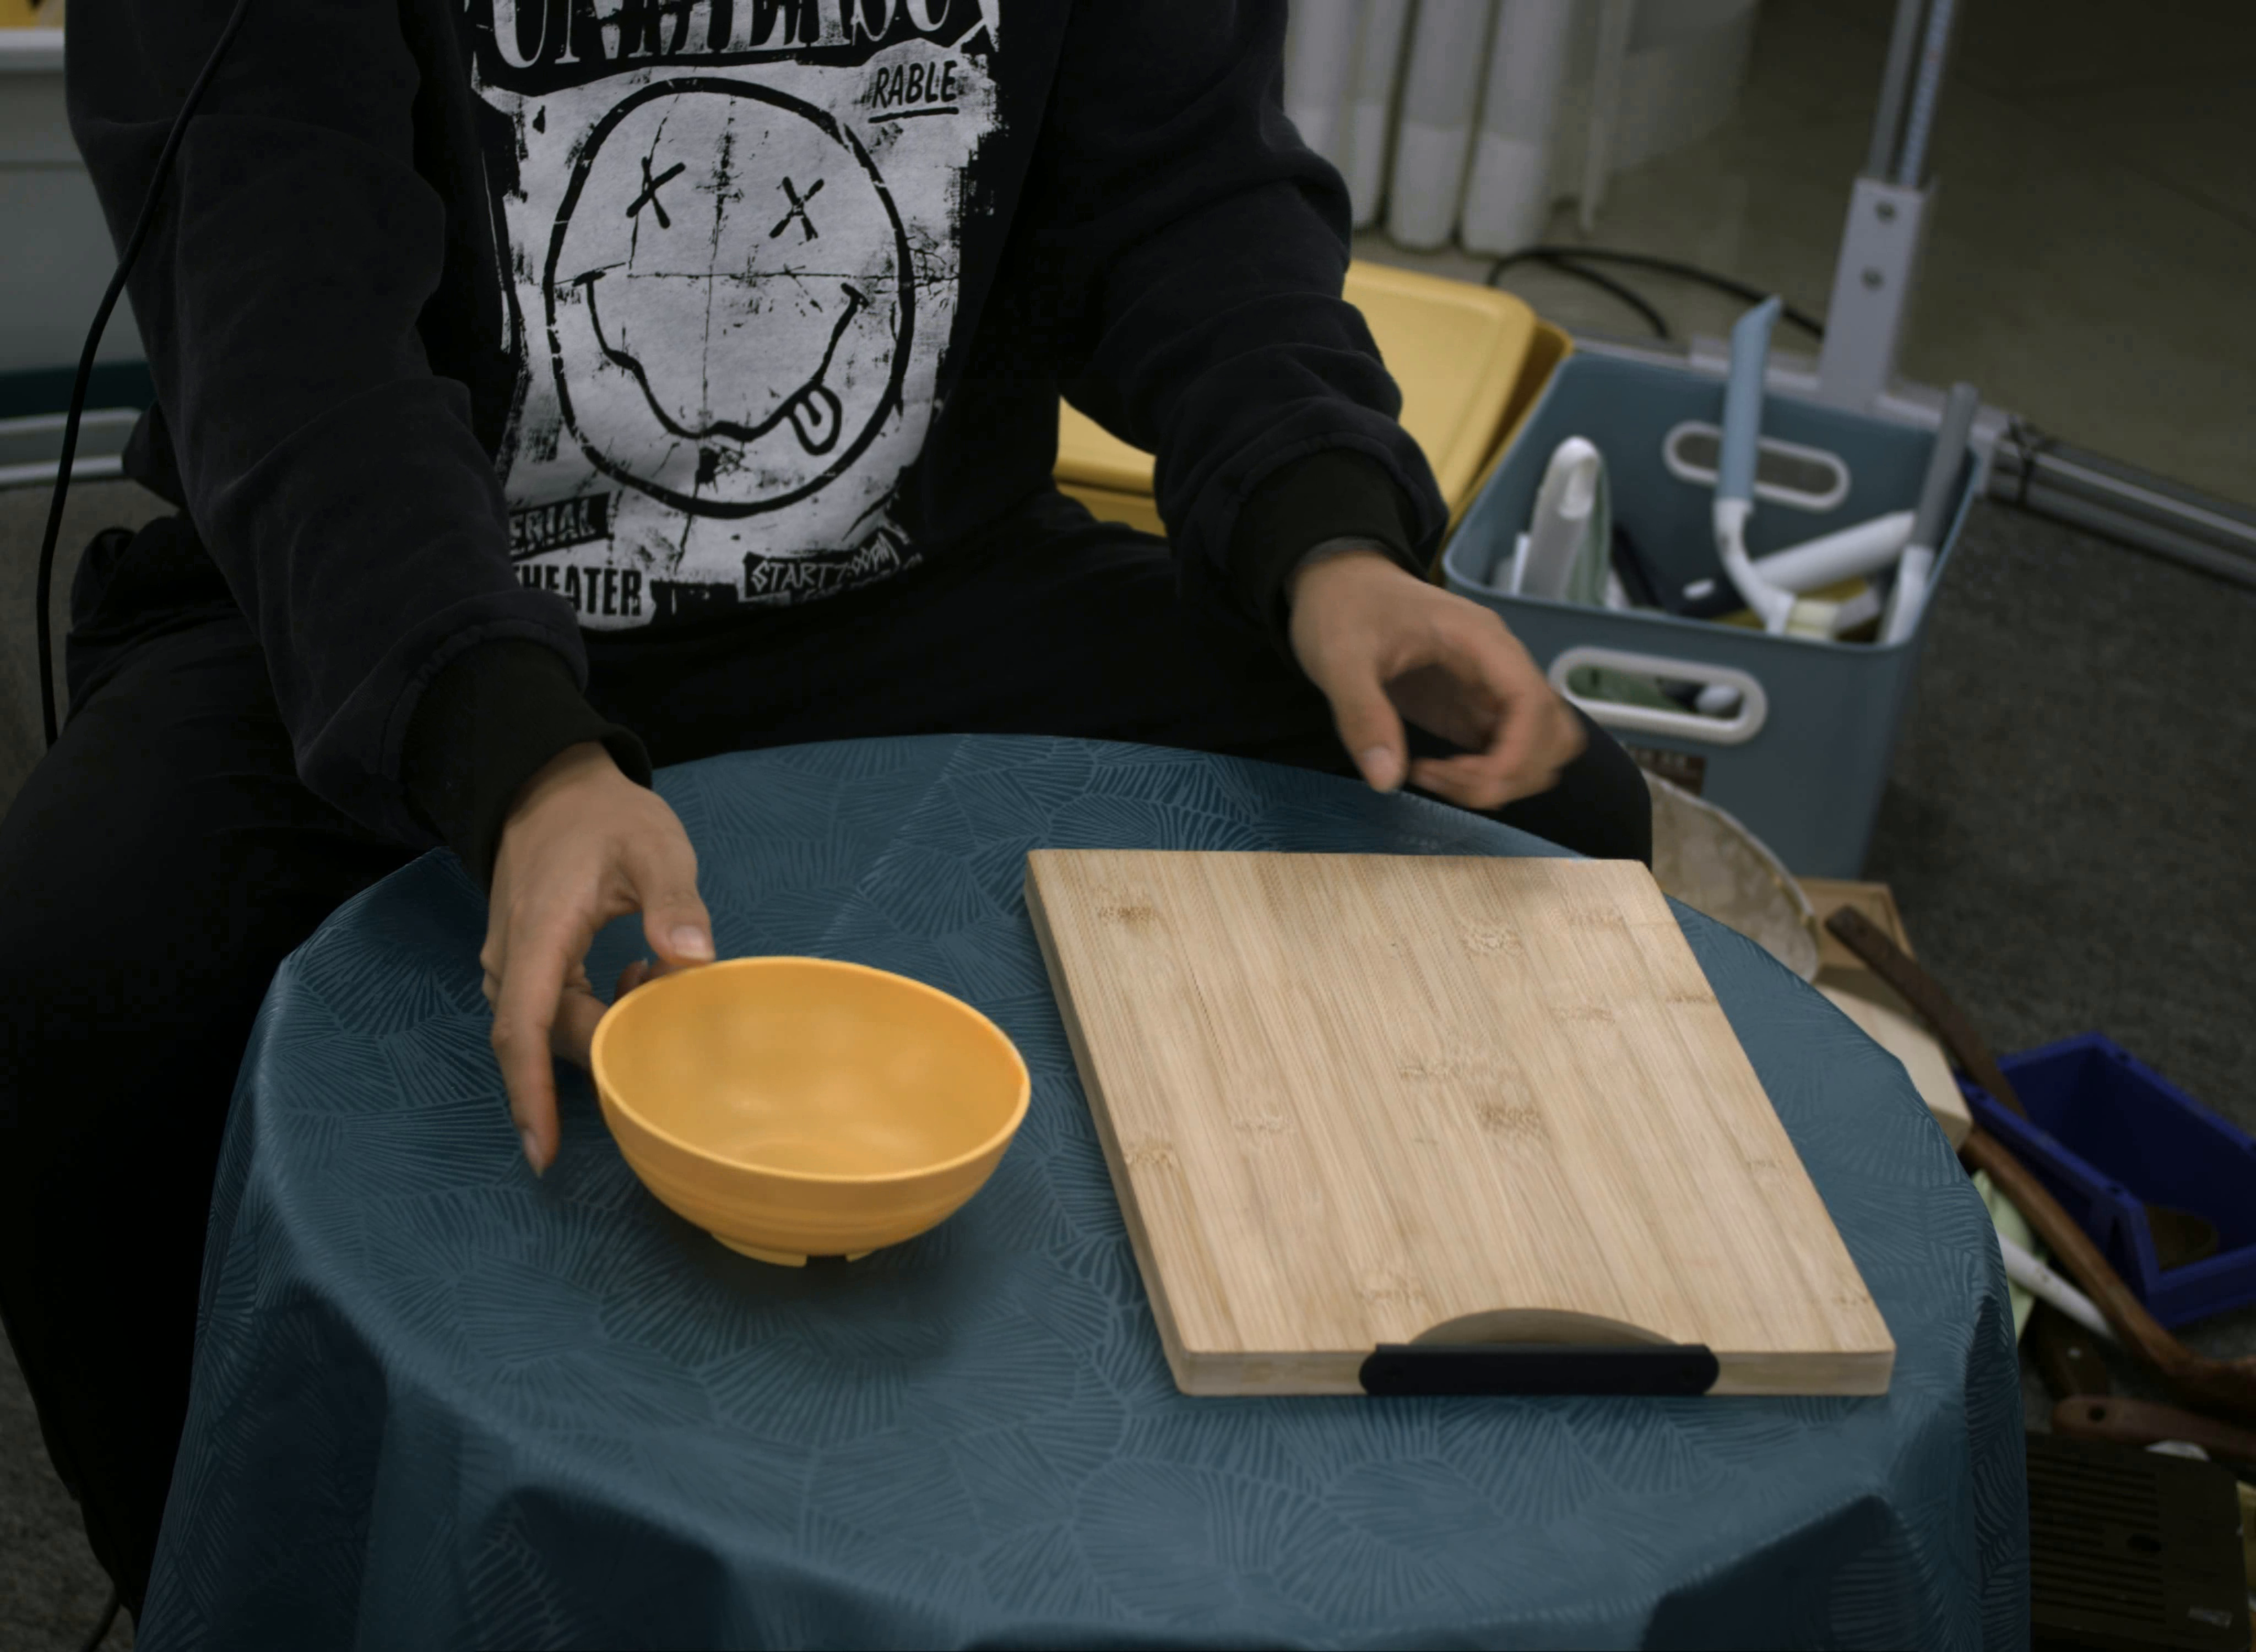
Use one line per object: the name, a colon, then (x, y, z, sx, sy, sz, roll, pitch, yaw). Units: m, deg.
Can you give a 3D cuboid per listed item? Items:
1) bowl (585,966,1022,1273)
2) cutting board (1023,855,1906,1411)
bowl: (-0.110, 0.105, 1.751, 0.145, 0.060, 0.146, 7, 25, -4)
cutting board: (0.106, 0.101, 1.851, 0.249, 0.023, 0.351, 0, 27, -12)
